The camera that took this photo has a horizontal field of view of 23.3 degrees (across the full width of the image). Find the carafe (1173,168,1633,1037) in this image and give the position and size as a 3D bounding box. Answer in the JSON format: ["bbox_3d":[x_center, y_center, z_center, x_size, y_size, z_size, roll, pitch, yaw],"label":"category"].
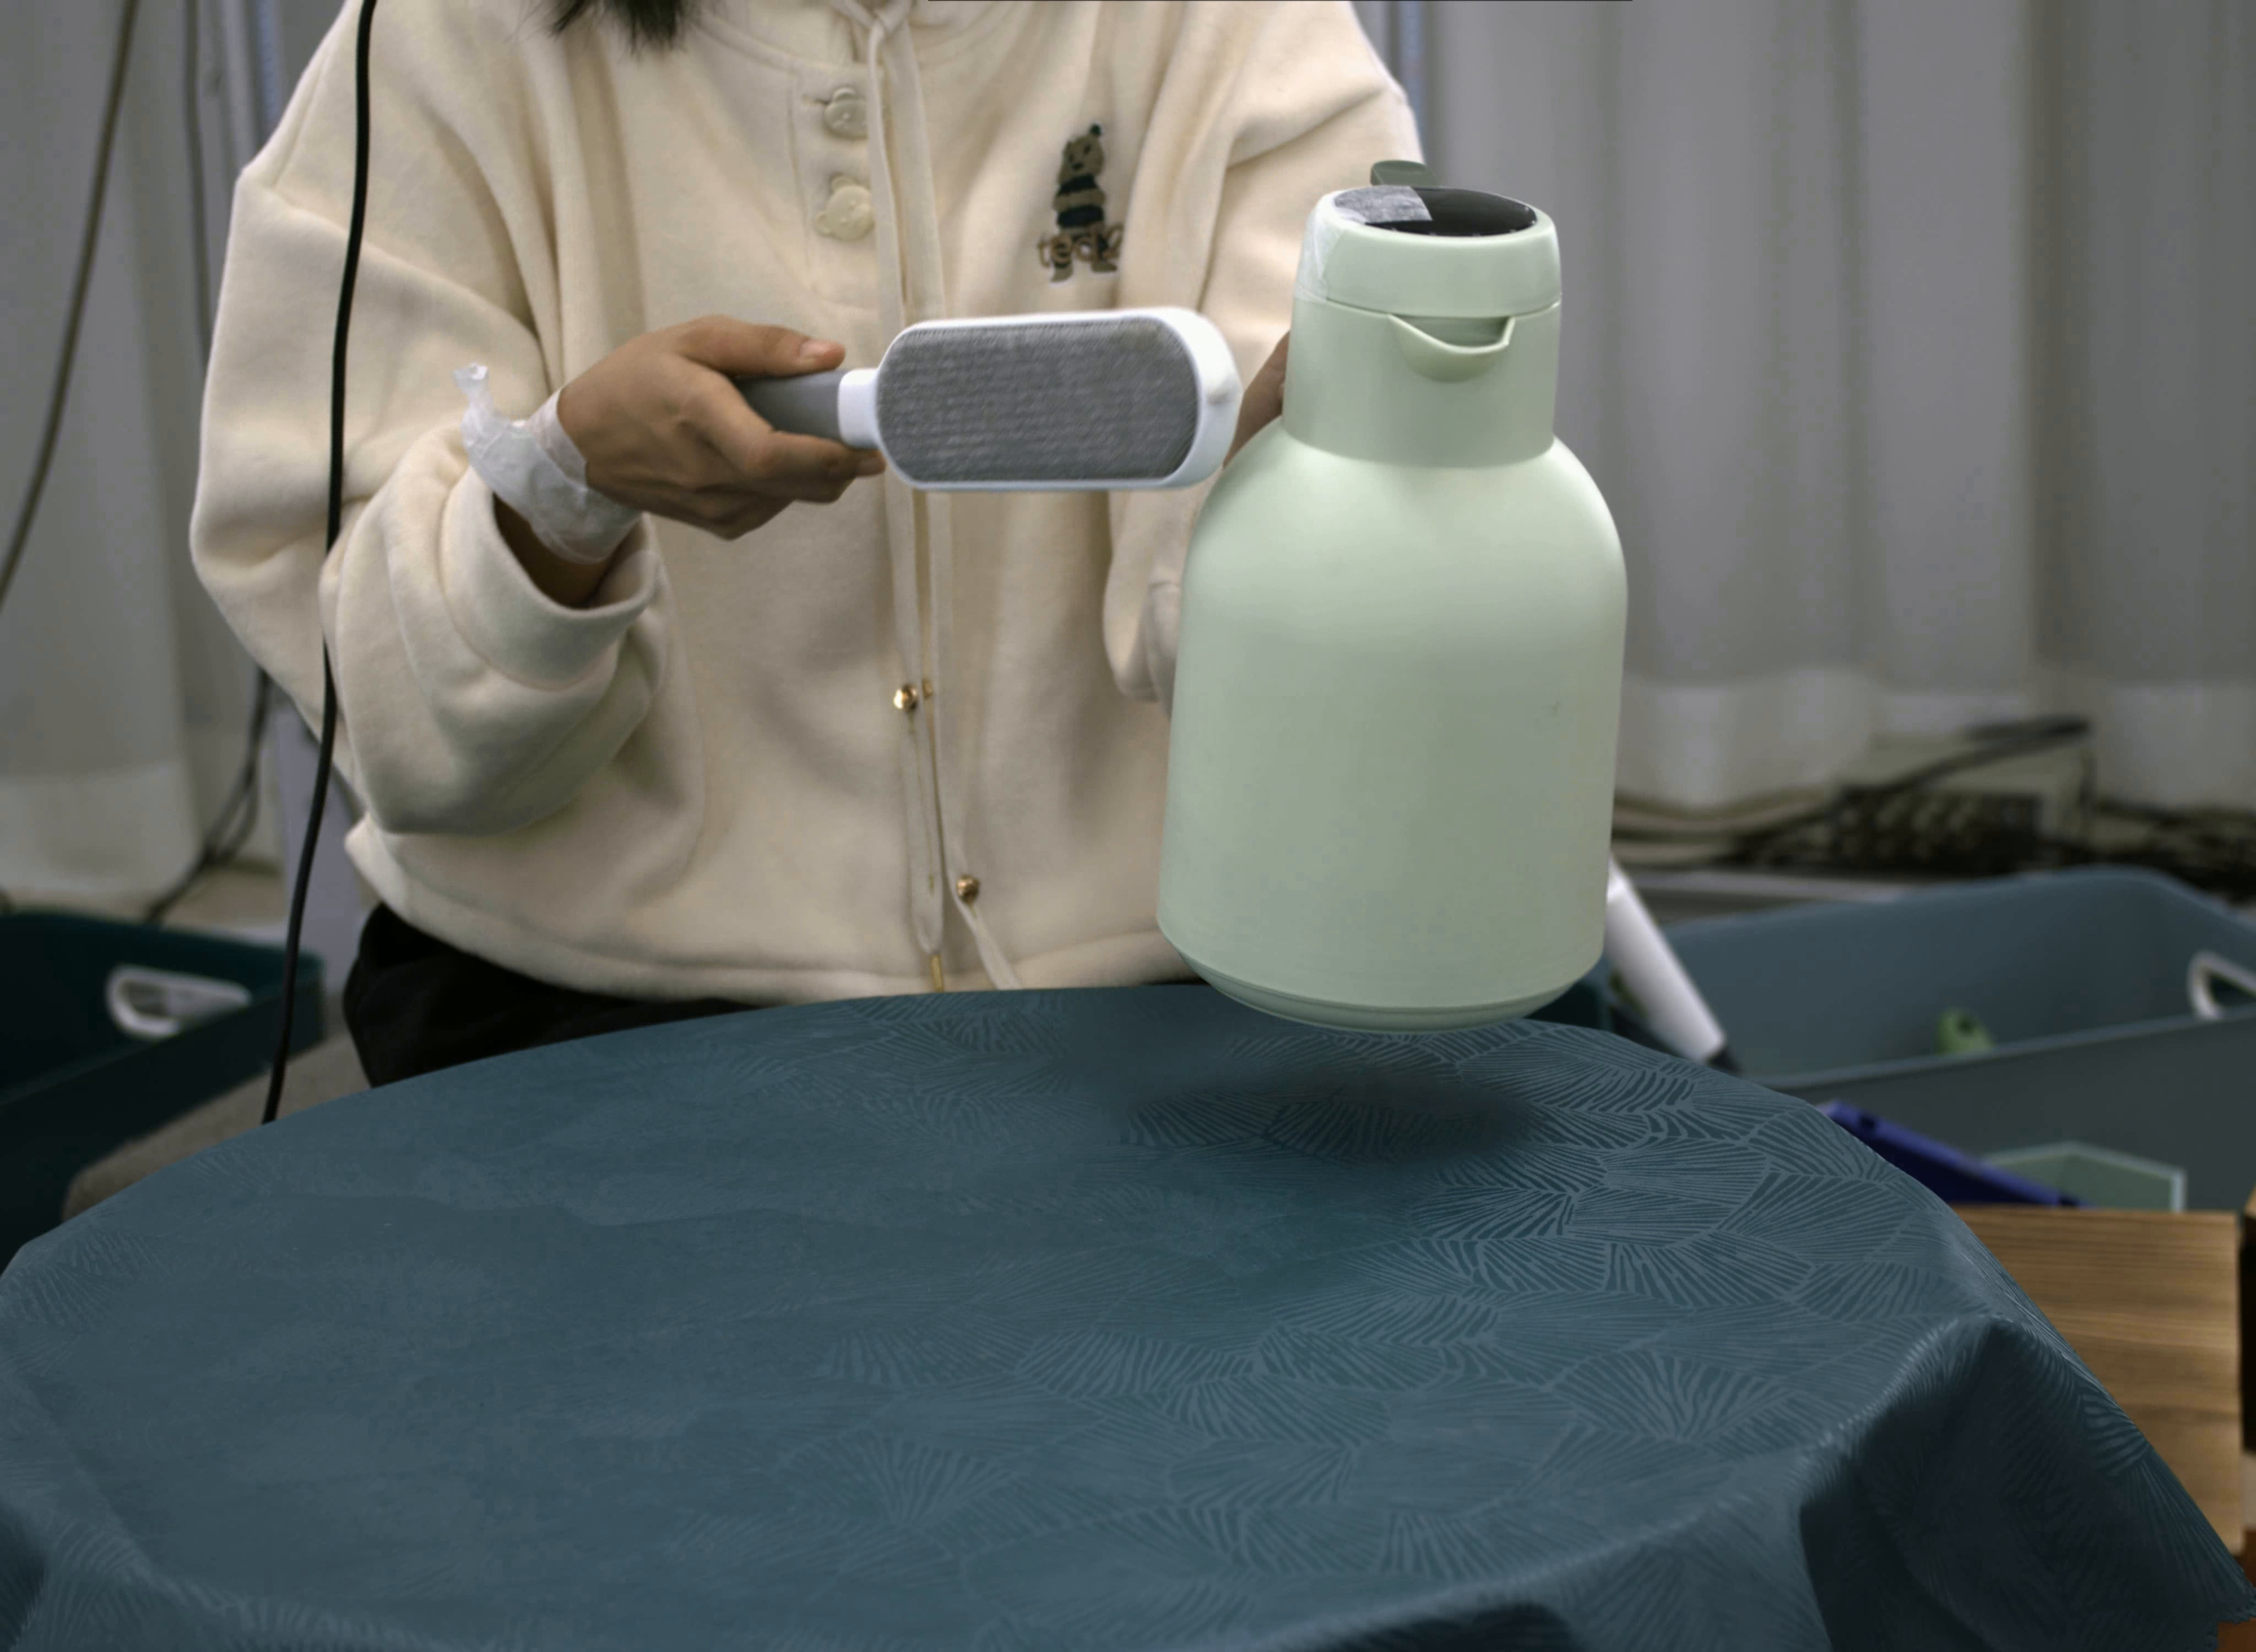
[{"bbox_3d":[0.087,-0.076,1.747,0.143,0.256,0.188,-1,15,-7],"label":"carafe"}]

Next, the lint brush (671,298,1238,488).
[{"bbox_3d":[-0.063,-0.142,1.814,0.021,0.060,0.310,-6,6,-37],"label":"lint brush"}]
